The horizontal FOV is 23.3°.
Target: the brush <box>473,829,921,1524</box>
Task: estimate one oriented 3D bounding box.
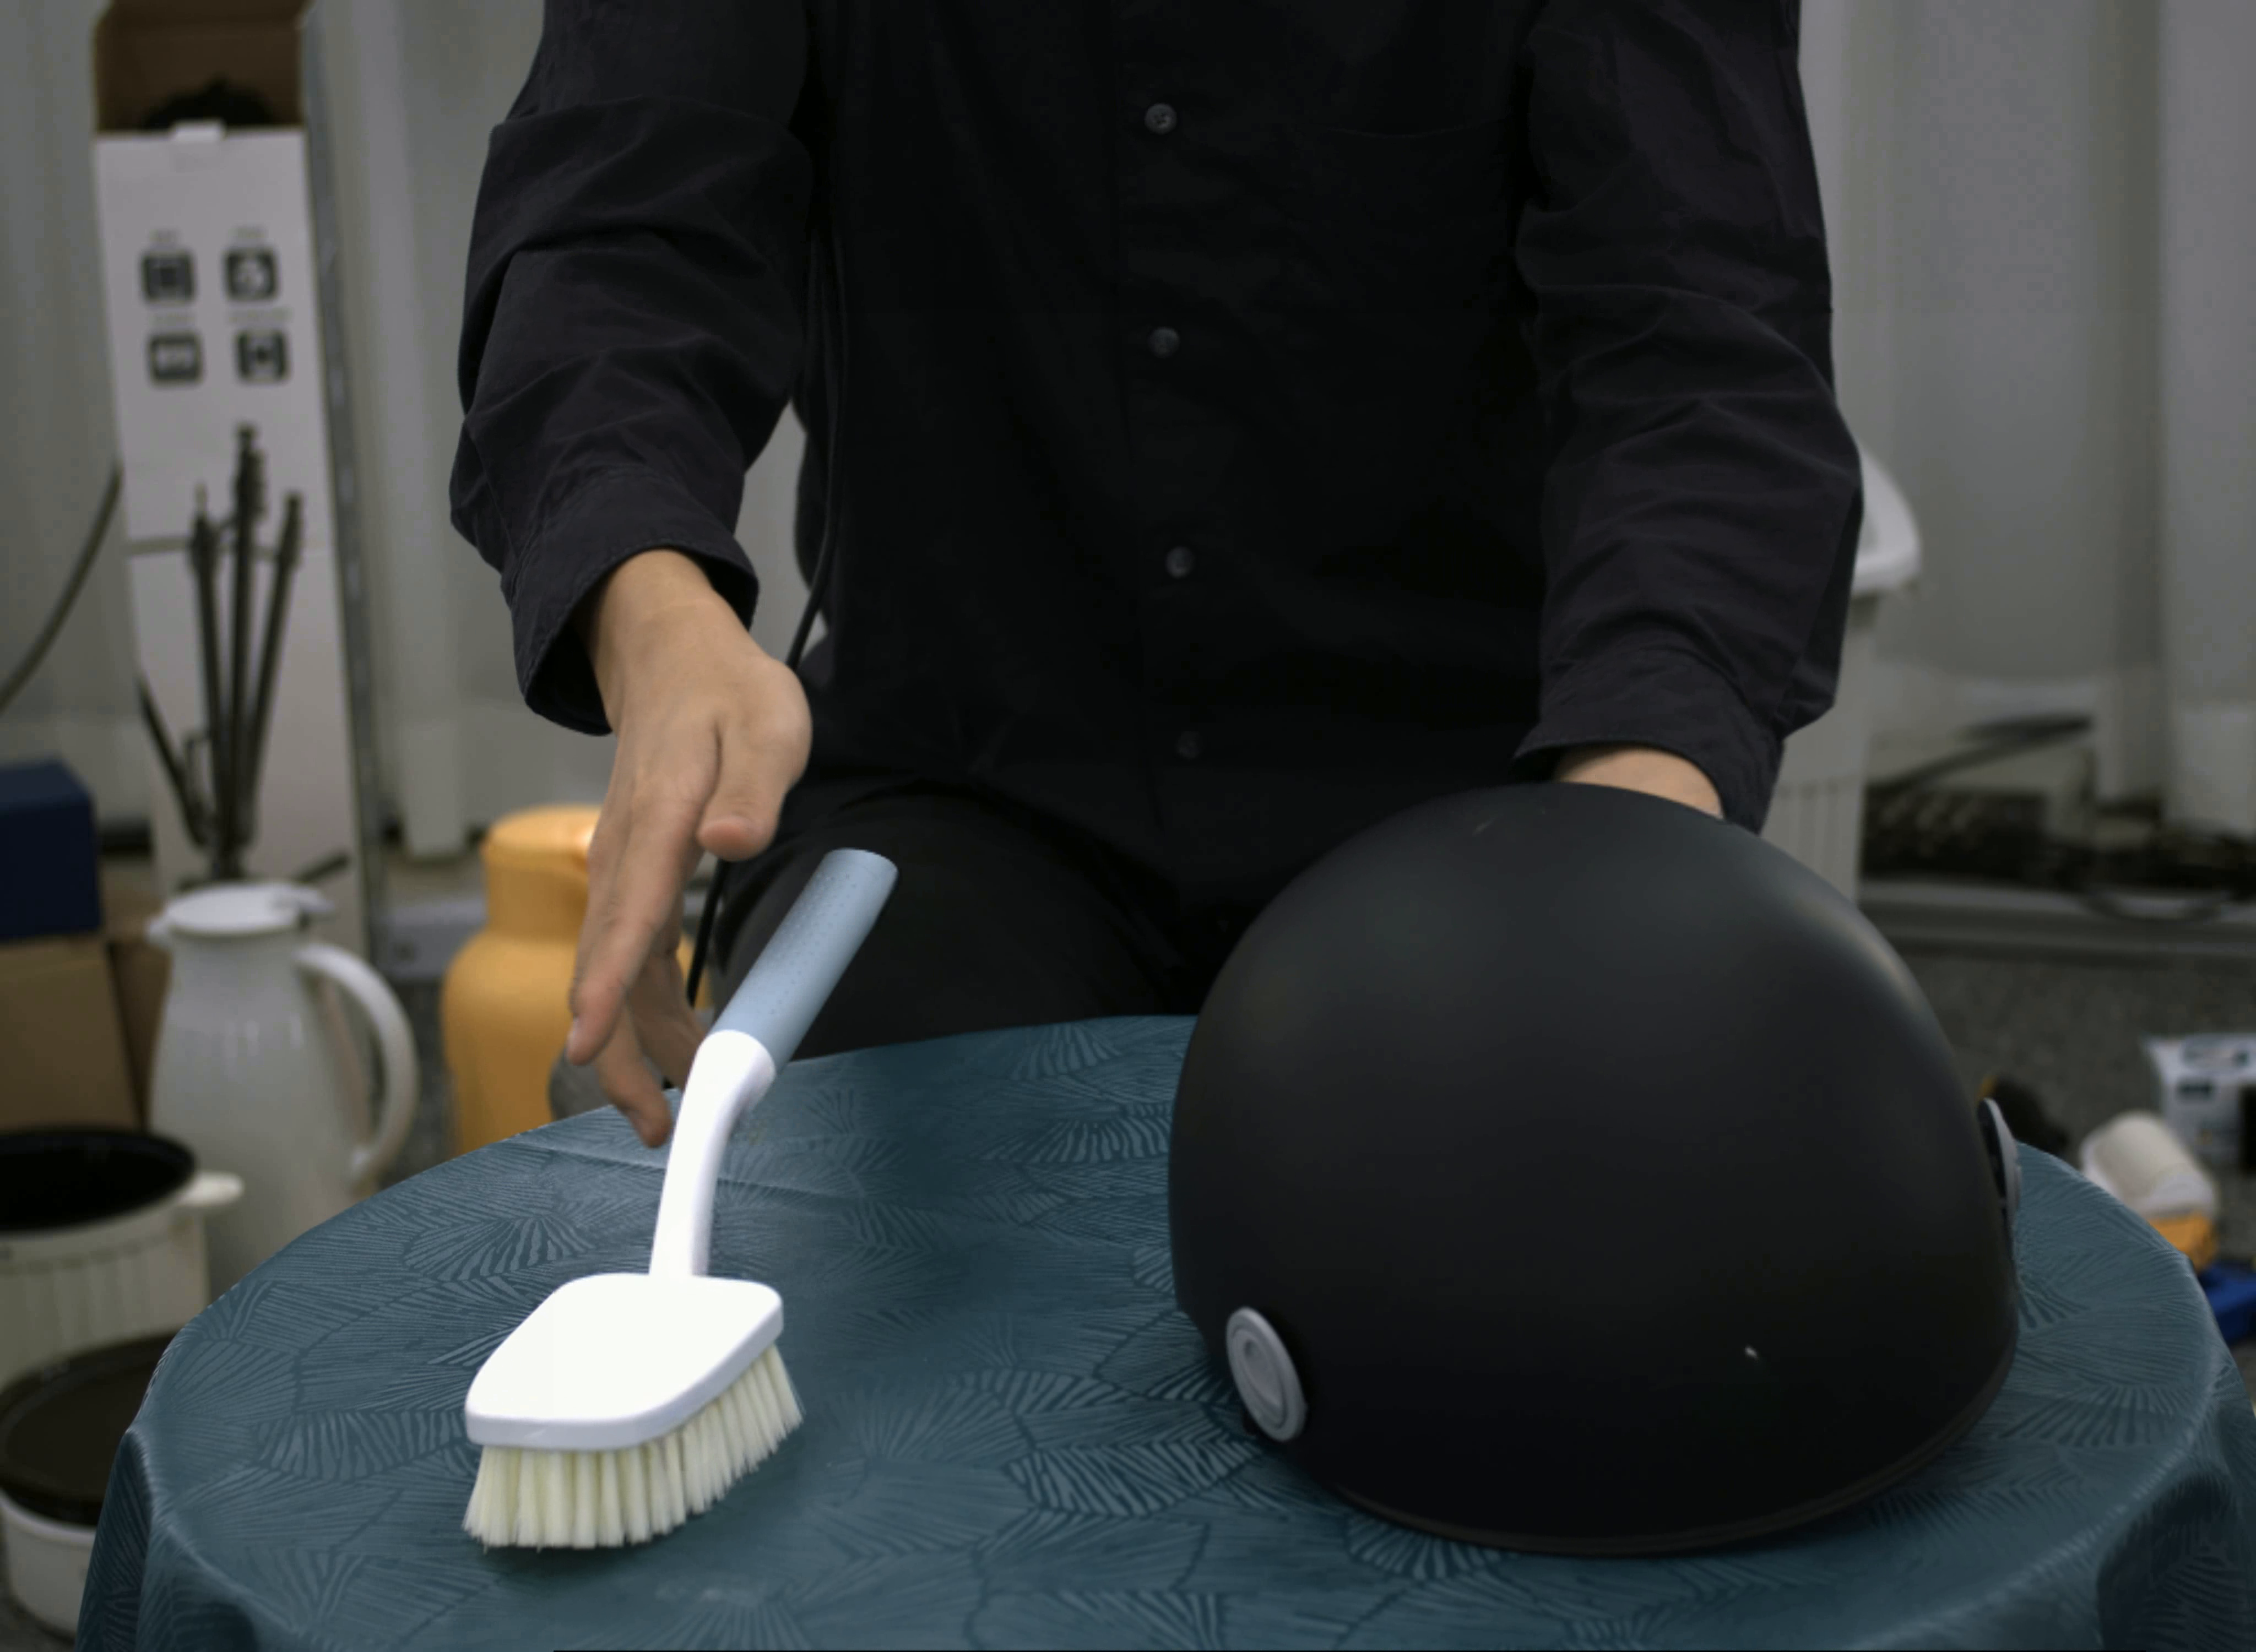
[{"bbox_3d":[-0.109,0.113,1.584,0.083,0.084,0.328,34,32,-2],"label":"brush"}]

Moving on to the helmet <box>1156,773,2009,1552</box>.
[{"bbox_3d":[0.119,0.077,1.518,0.229,0.165,0.275,-15,20,-11],"label":"helmet"}]
